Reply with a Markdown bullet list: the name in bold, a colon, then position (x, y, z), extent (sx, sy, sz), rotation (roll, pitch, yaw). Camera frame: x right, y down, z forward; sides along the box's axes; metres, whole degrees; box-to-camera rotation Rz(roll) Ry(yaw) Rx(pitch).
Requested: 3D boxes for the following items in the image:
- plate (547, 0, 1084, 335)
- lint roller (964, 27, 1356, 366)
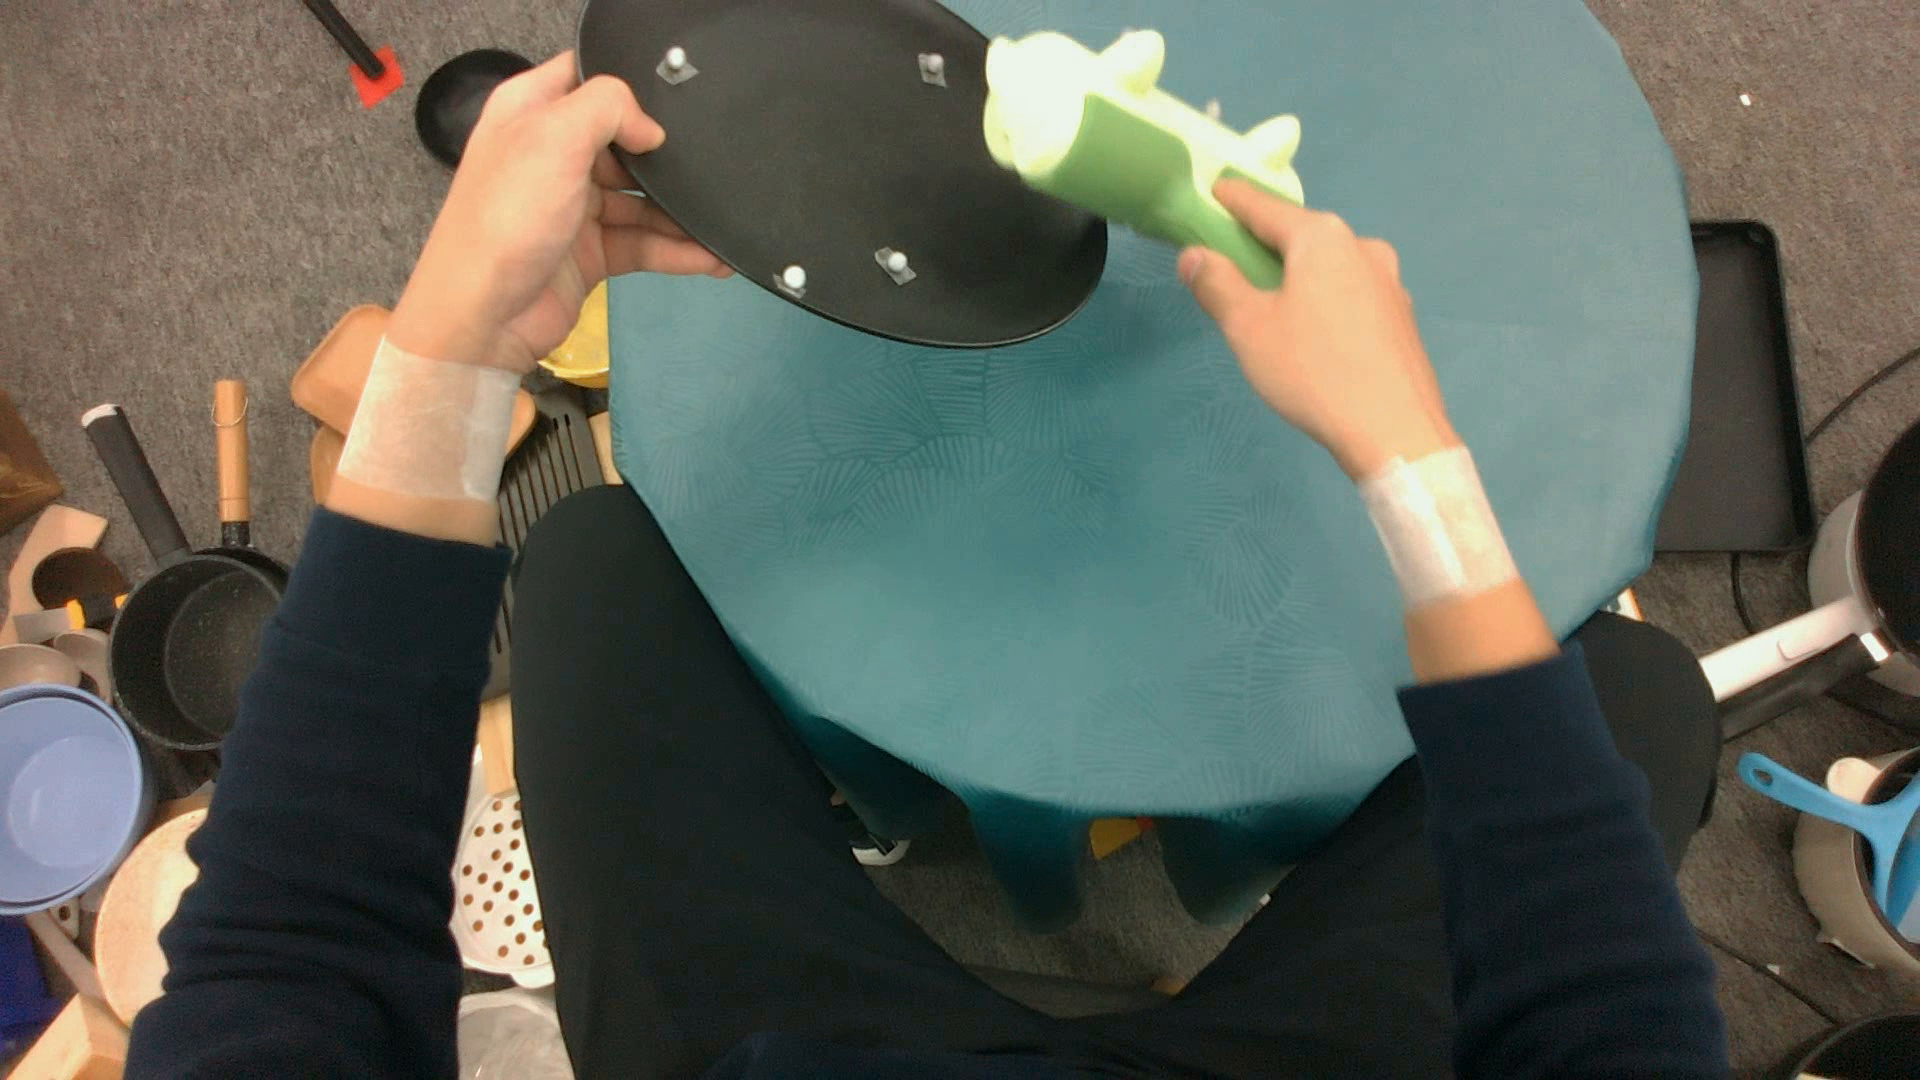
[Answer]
- **plate**: position (-0.057, -0.176, 0.600), extent (0.244, 0.023, 0.245), rotation (16, 49, -19)
- **lint roller**: position (0.118, -0.153, 0.606), extent (0.183, 0.199, 0.082), rotation (43, 115, 34)
